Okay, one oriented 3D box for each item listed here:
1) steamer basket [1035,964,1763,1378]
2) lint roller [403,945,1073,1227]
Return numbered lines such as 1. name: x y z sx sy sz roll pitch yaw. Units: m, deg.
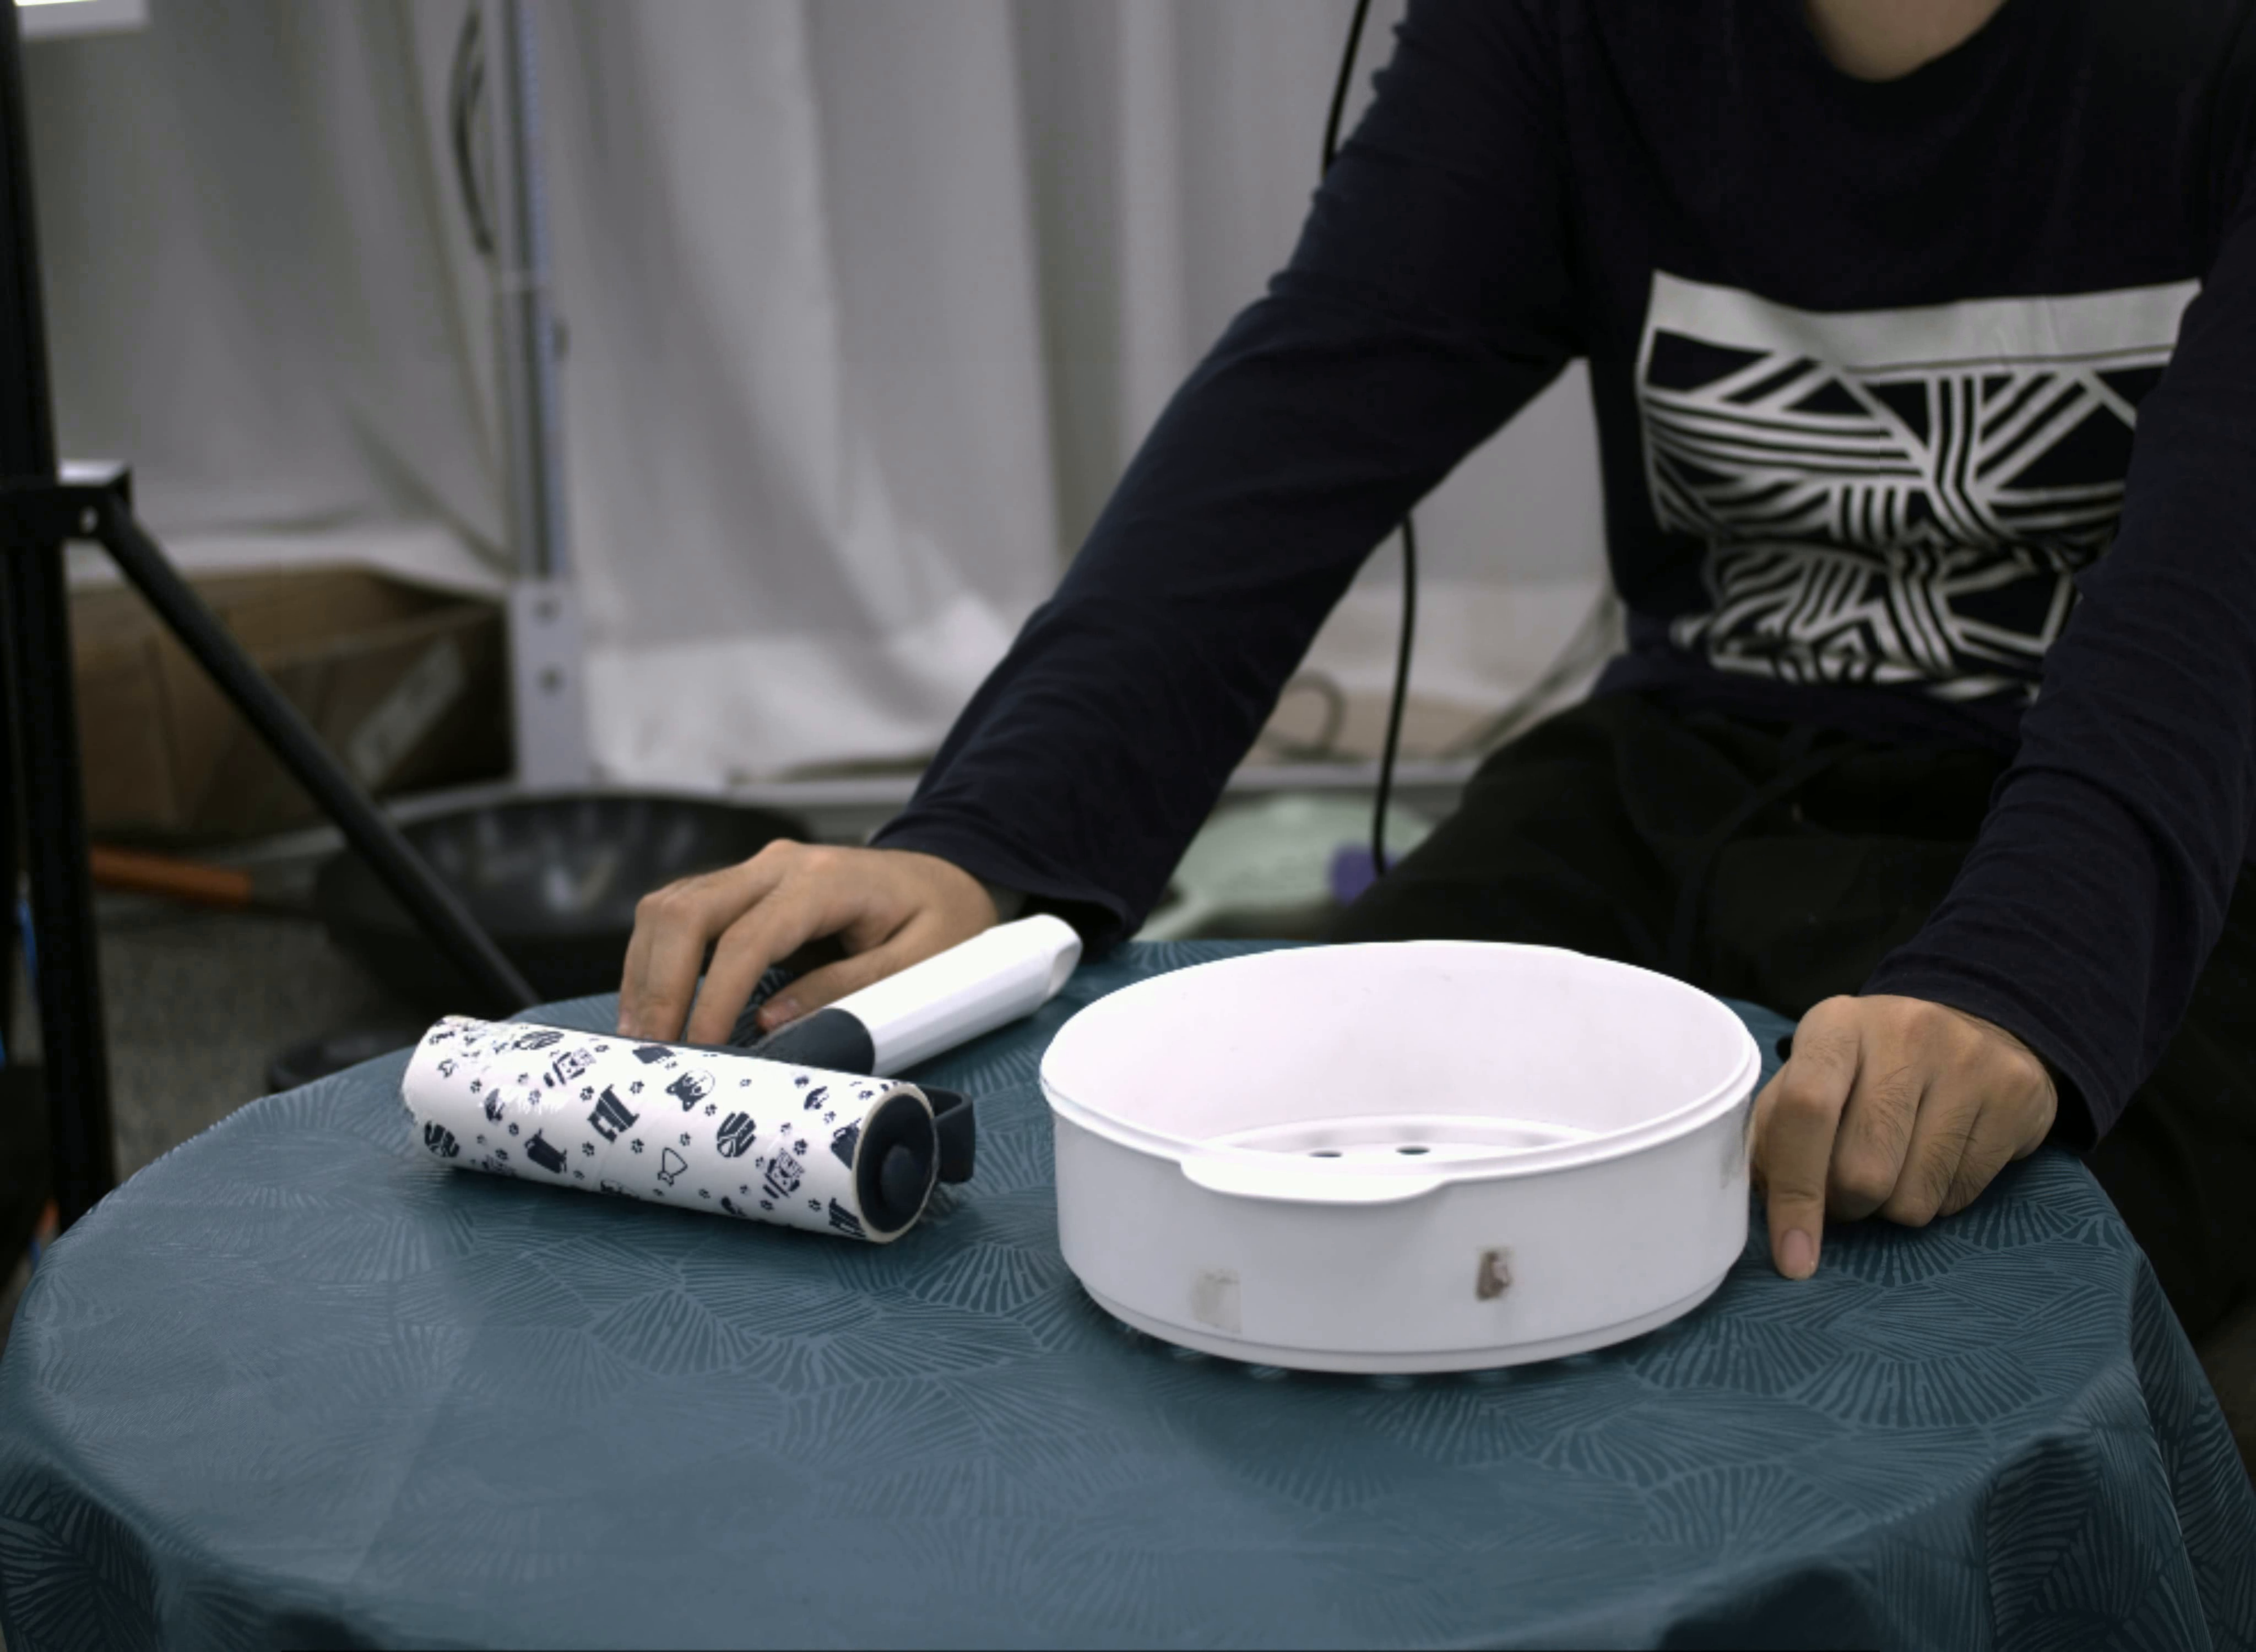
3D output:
1. steamer basket: 0.075 0.096 1.476 0.204 0.069 0.228 4 14 18
2. lint roller: -0.087 0.066 1.654 0.179 0.050 0.242 6 15 29
